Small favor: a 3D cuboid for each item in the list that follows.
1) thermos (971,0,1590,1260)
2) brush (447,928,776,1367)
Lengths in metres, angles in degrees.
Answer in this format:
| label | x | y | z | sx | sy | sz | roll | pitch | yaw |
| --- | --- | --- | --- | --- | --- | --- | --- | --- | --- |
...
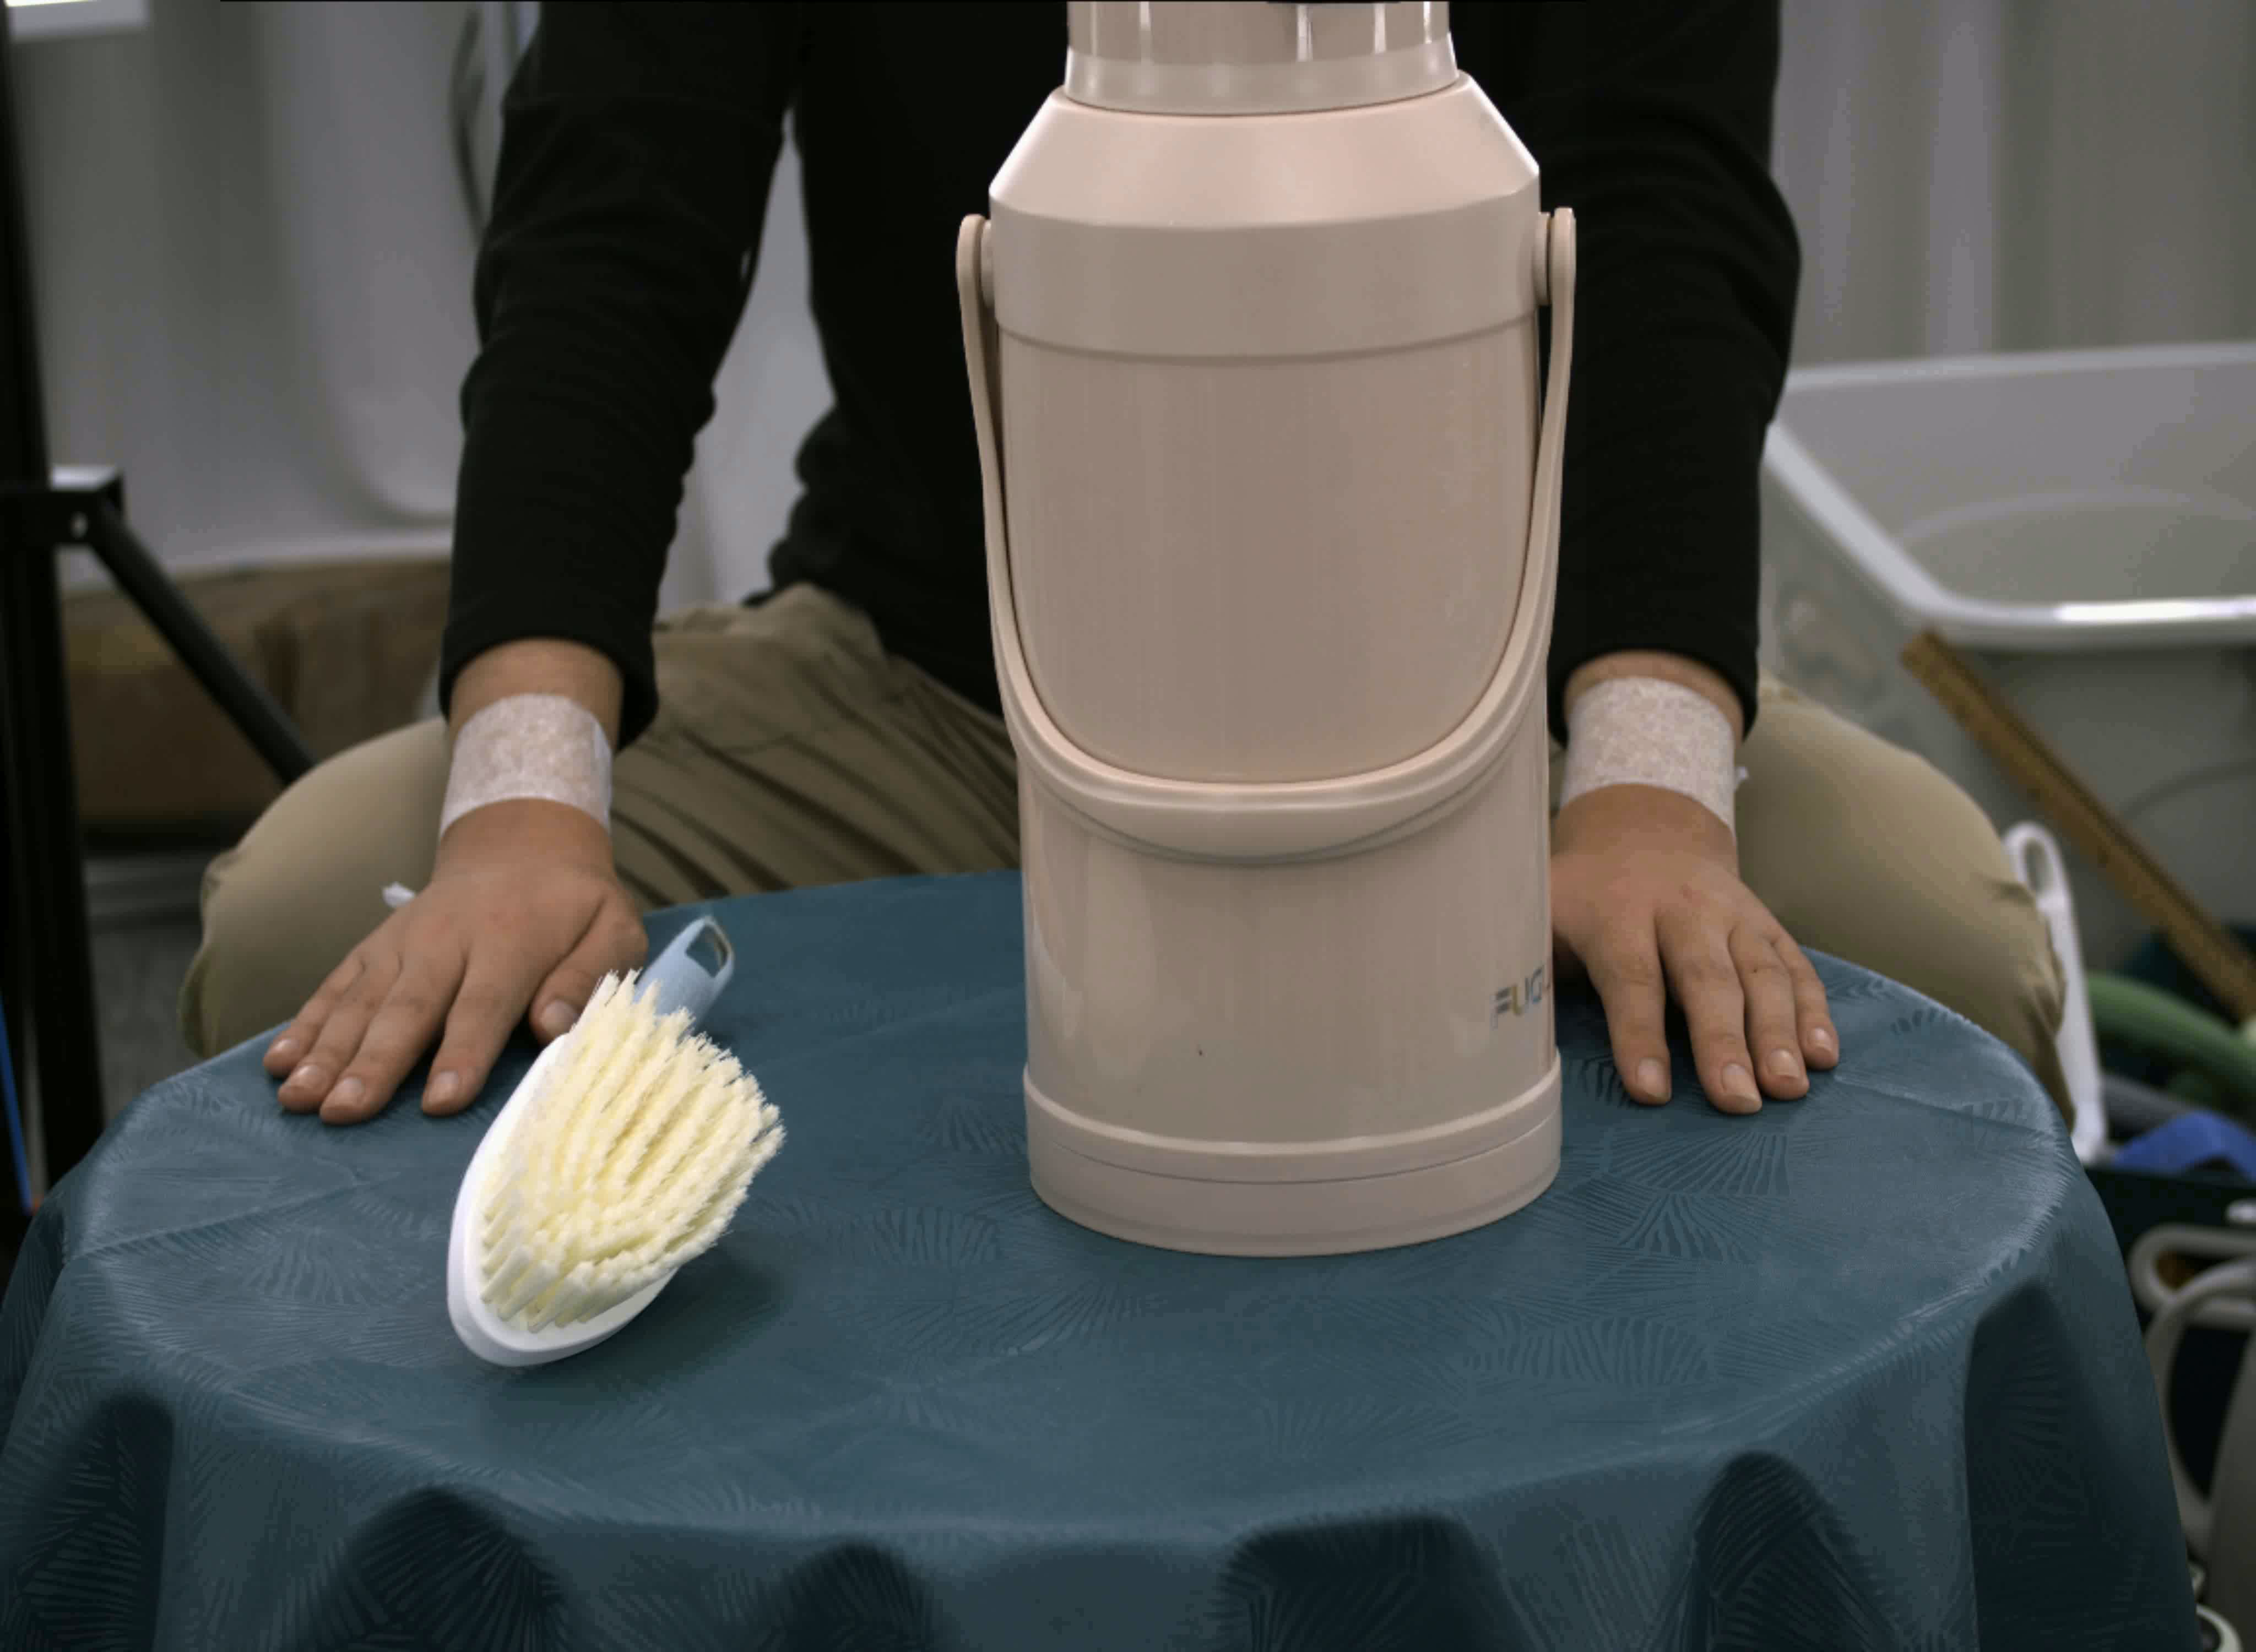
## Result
| label | x | y | z | sx | sy | sz | roll | pitch | yaw |
| --- | --- | --- | --- | --- | --- | --- | --- | --- | --- |
| thermos | 0.049 | -0.094 | 1.535 | 0.176 | 0.406 | 0.206 | -1 | 15 | 10 |
| brush | -0.137 | 0.067 | 1.577 | 0.085 | 0.083 | 0.325 | -5 | 17 | 8 |
